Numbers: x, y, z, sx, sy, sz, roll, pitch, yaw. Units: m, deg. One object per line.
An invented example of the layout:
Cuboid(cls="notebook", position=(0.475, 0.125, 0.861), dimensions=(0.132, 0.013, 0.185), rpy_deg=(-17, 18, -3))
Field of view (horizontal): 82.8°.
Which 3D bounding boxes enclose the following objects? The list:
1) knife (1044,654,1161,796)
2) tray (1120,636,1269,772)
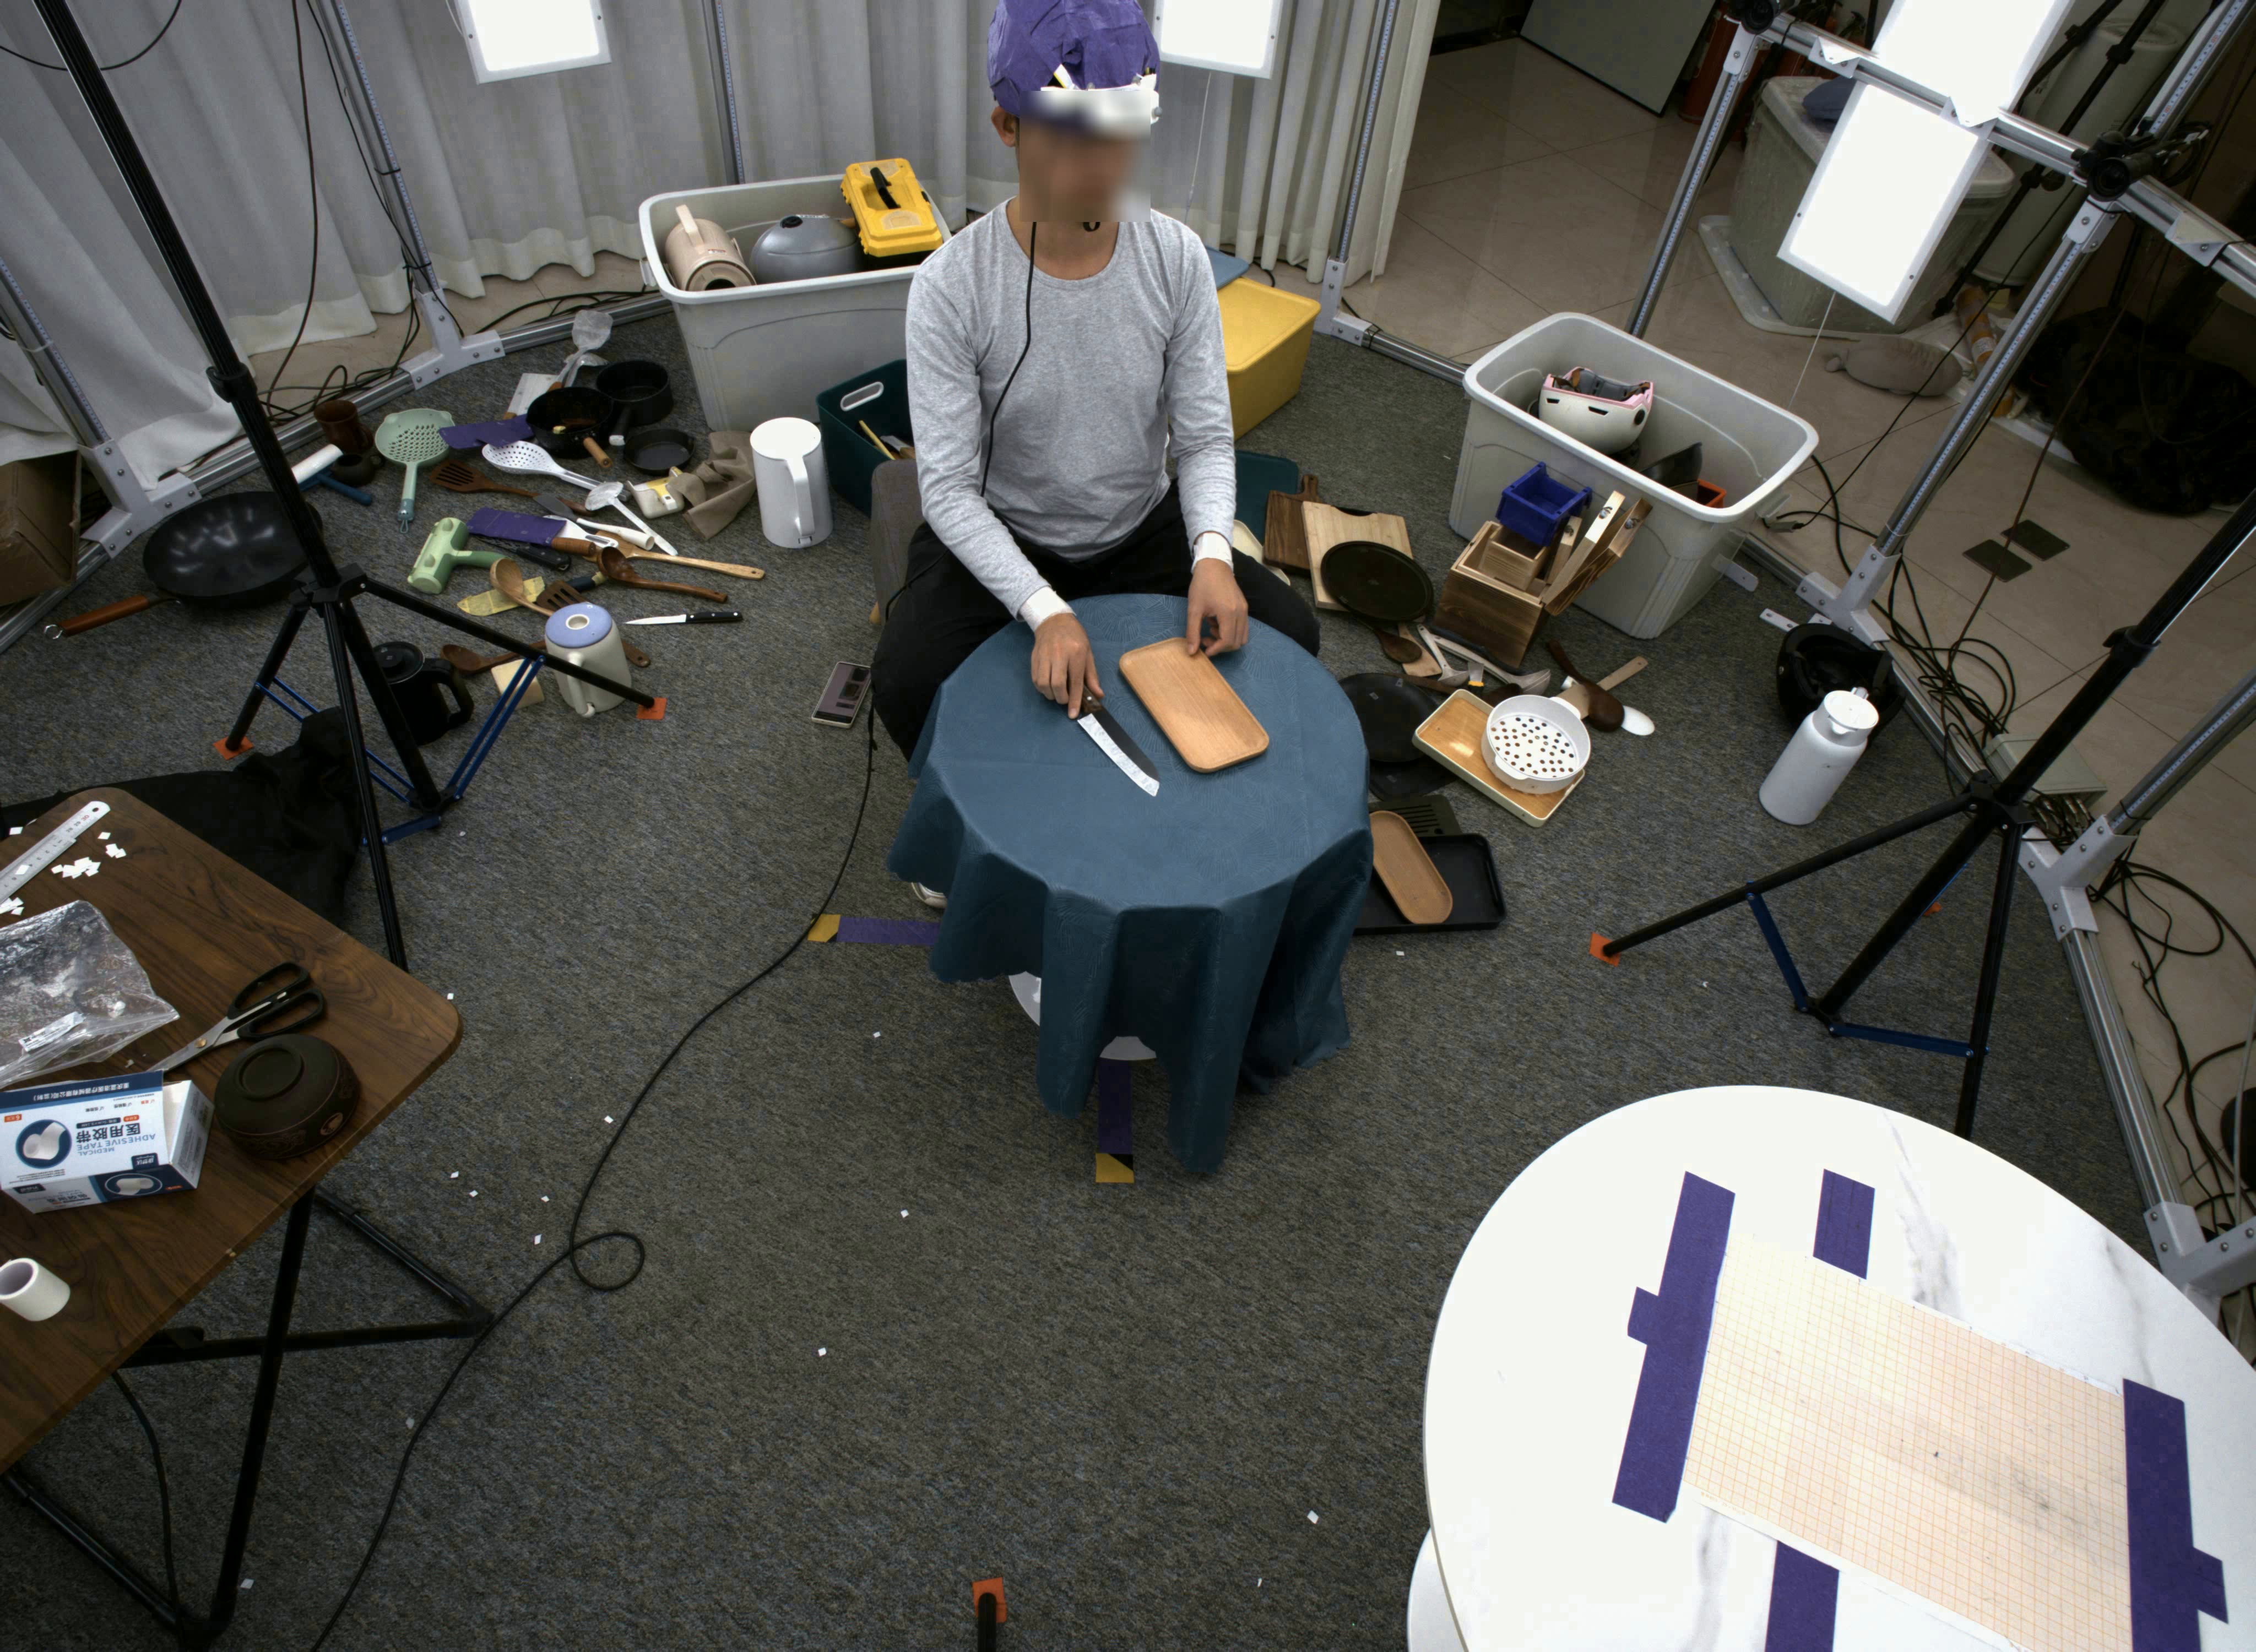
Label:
Cuboid(cls="knife", position=(-0.037, -0.143, 1.779), dimensions=(0.050, 0.019, 0.295), rpy_deg=(-27, 58, -17))
Cuboid(cls="tray", position=(0.091, -0.175, 1.815), dimensions=(0.131, 0.022, 0.256), rpy_deg=(-17, 52, -20))
